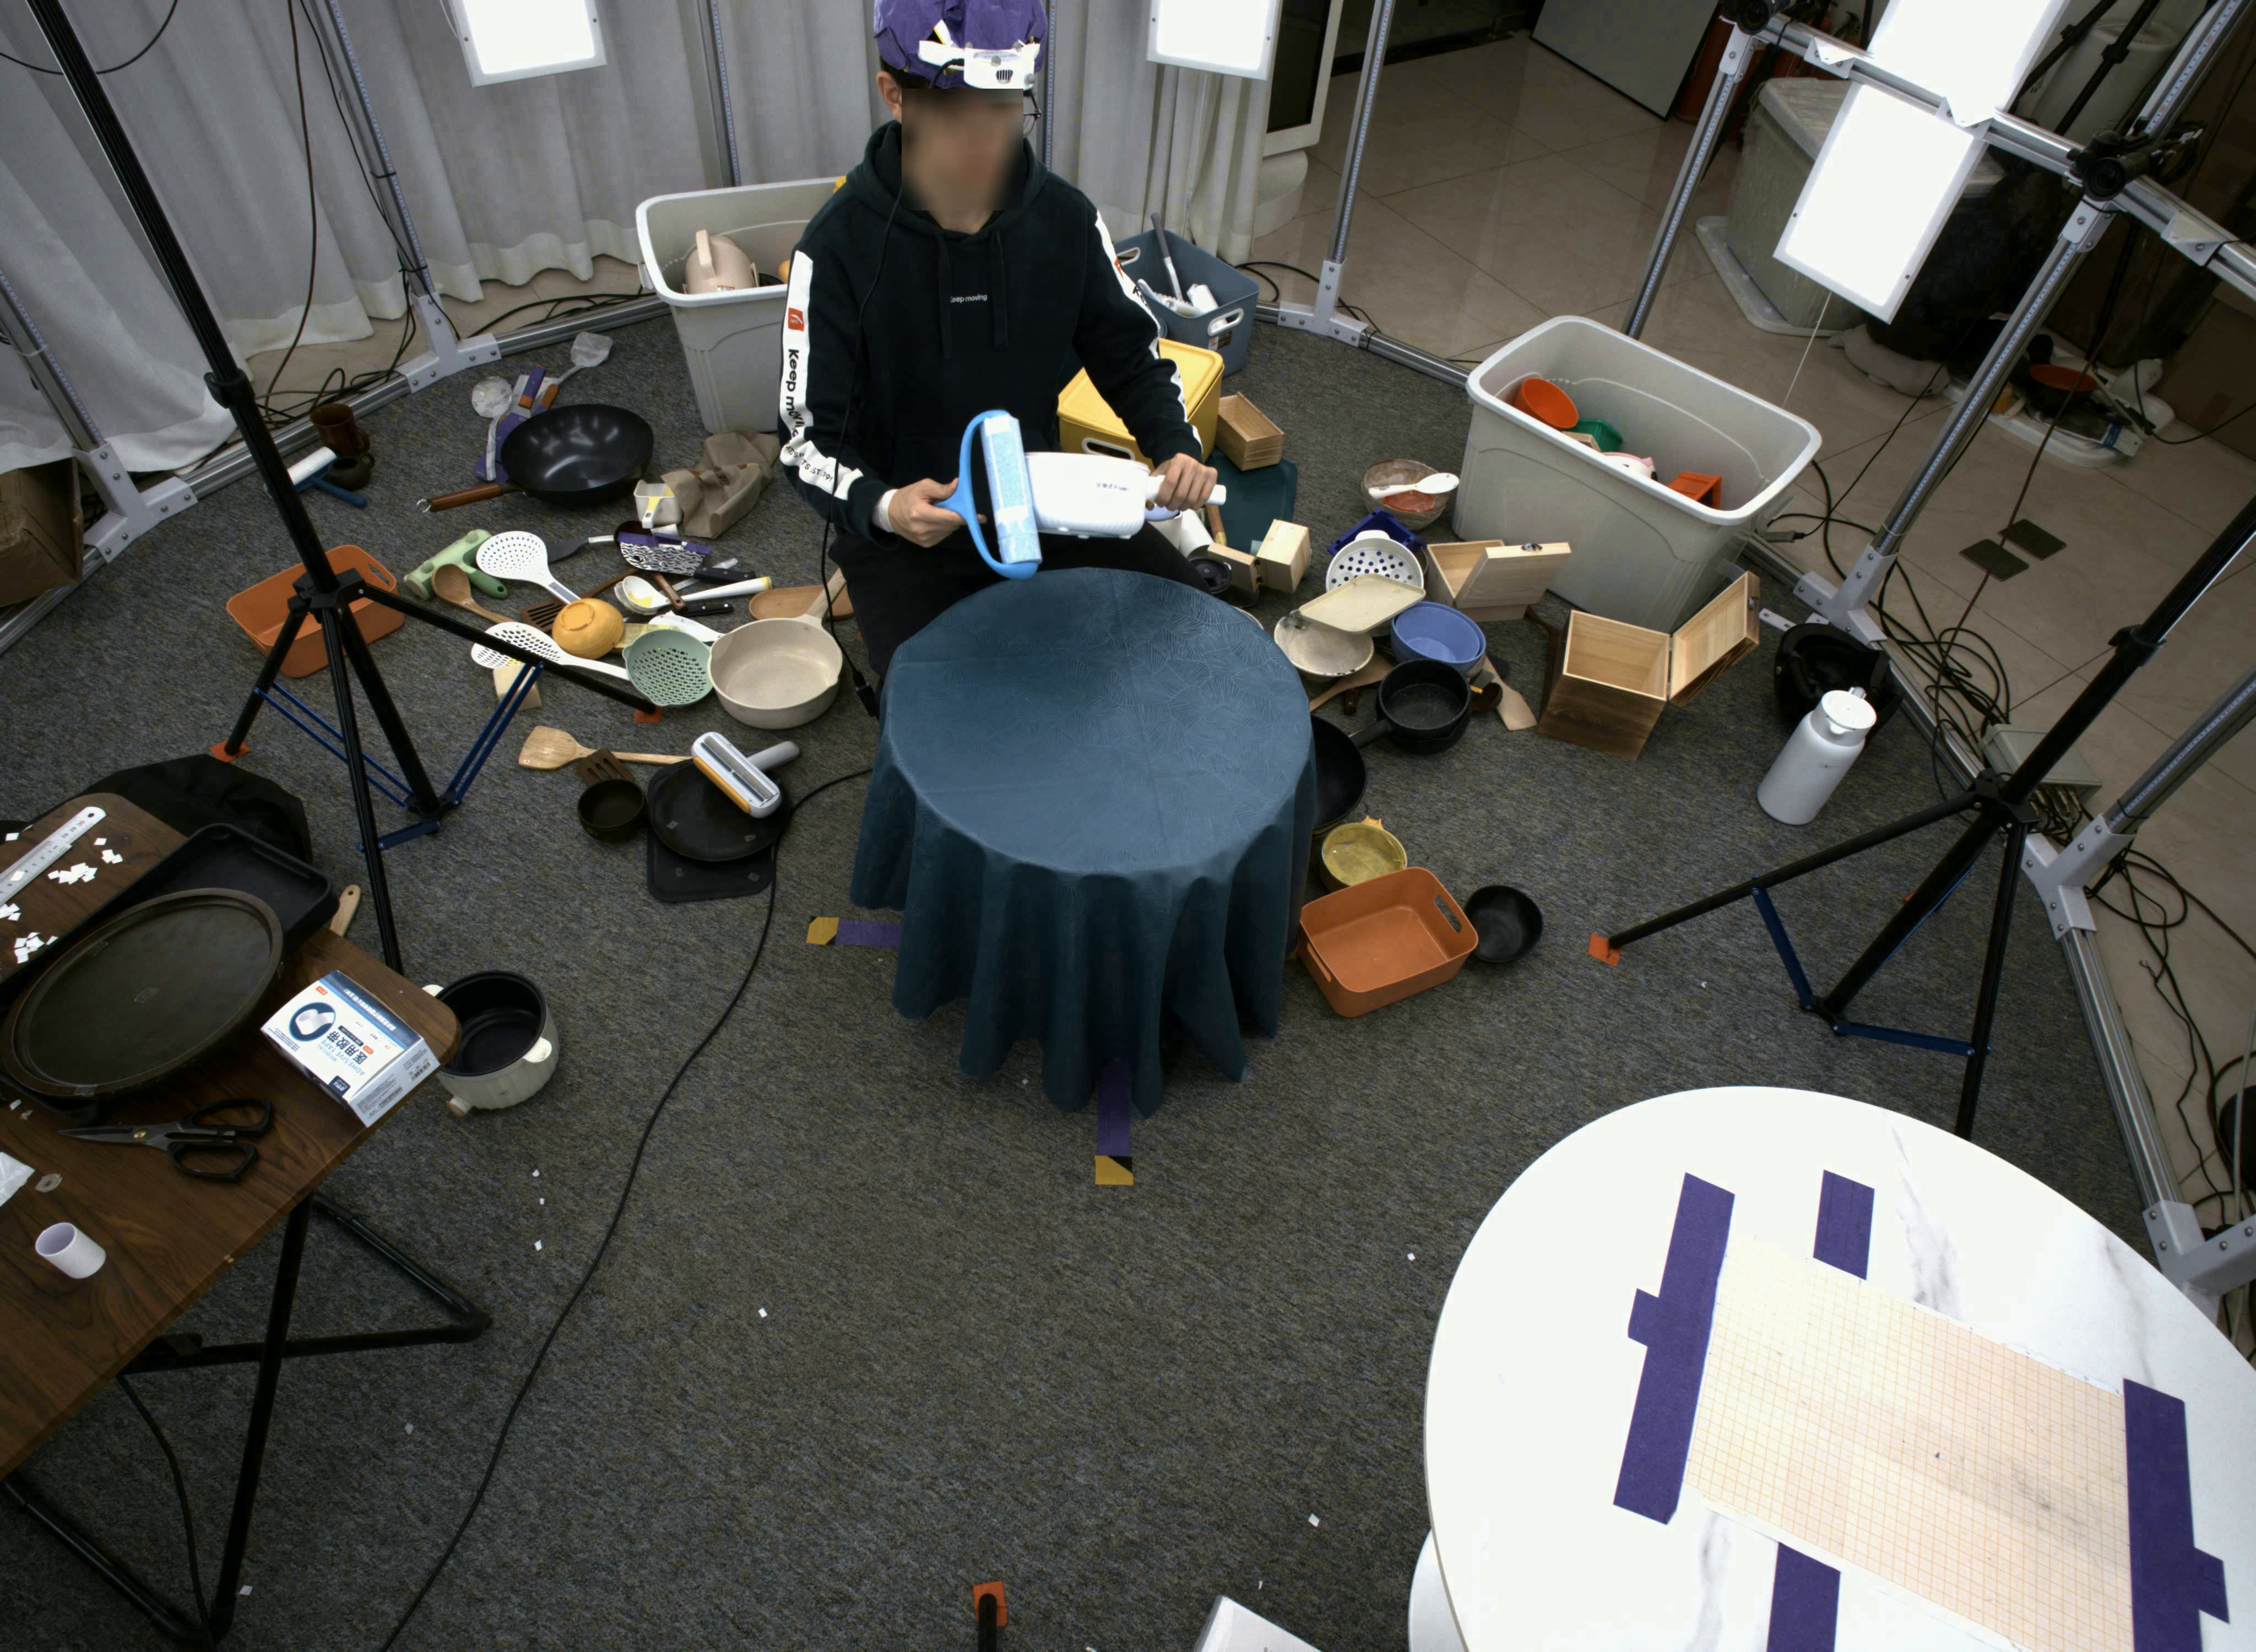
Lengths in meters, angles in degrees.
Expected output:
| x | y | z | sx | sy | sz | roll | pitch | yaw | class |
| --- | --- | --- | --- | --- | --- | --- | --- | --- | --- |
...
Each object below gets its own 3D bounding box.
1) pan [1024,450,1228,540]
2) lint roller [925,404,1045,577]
| x | y | z | sx | sy | sz | roll | pitch | yaw | class |
| --- | --- | --- | --- | --- | --- | --- | --- | --- | --- |
| -0.008 | -0.458 | 1.841 | 0.353 | 0.101 | 0.203 | -2 | 9 | -35 | pan |
| -0.207 | -0.429 | 1.727 | 0.180 | 0.068 | 0.229 | -14 | 87 | 22 | lint roller |
